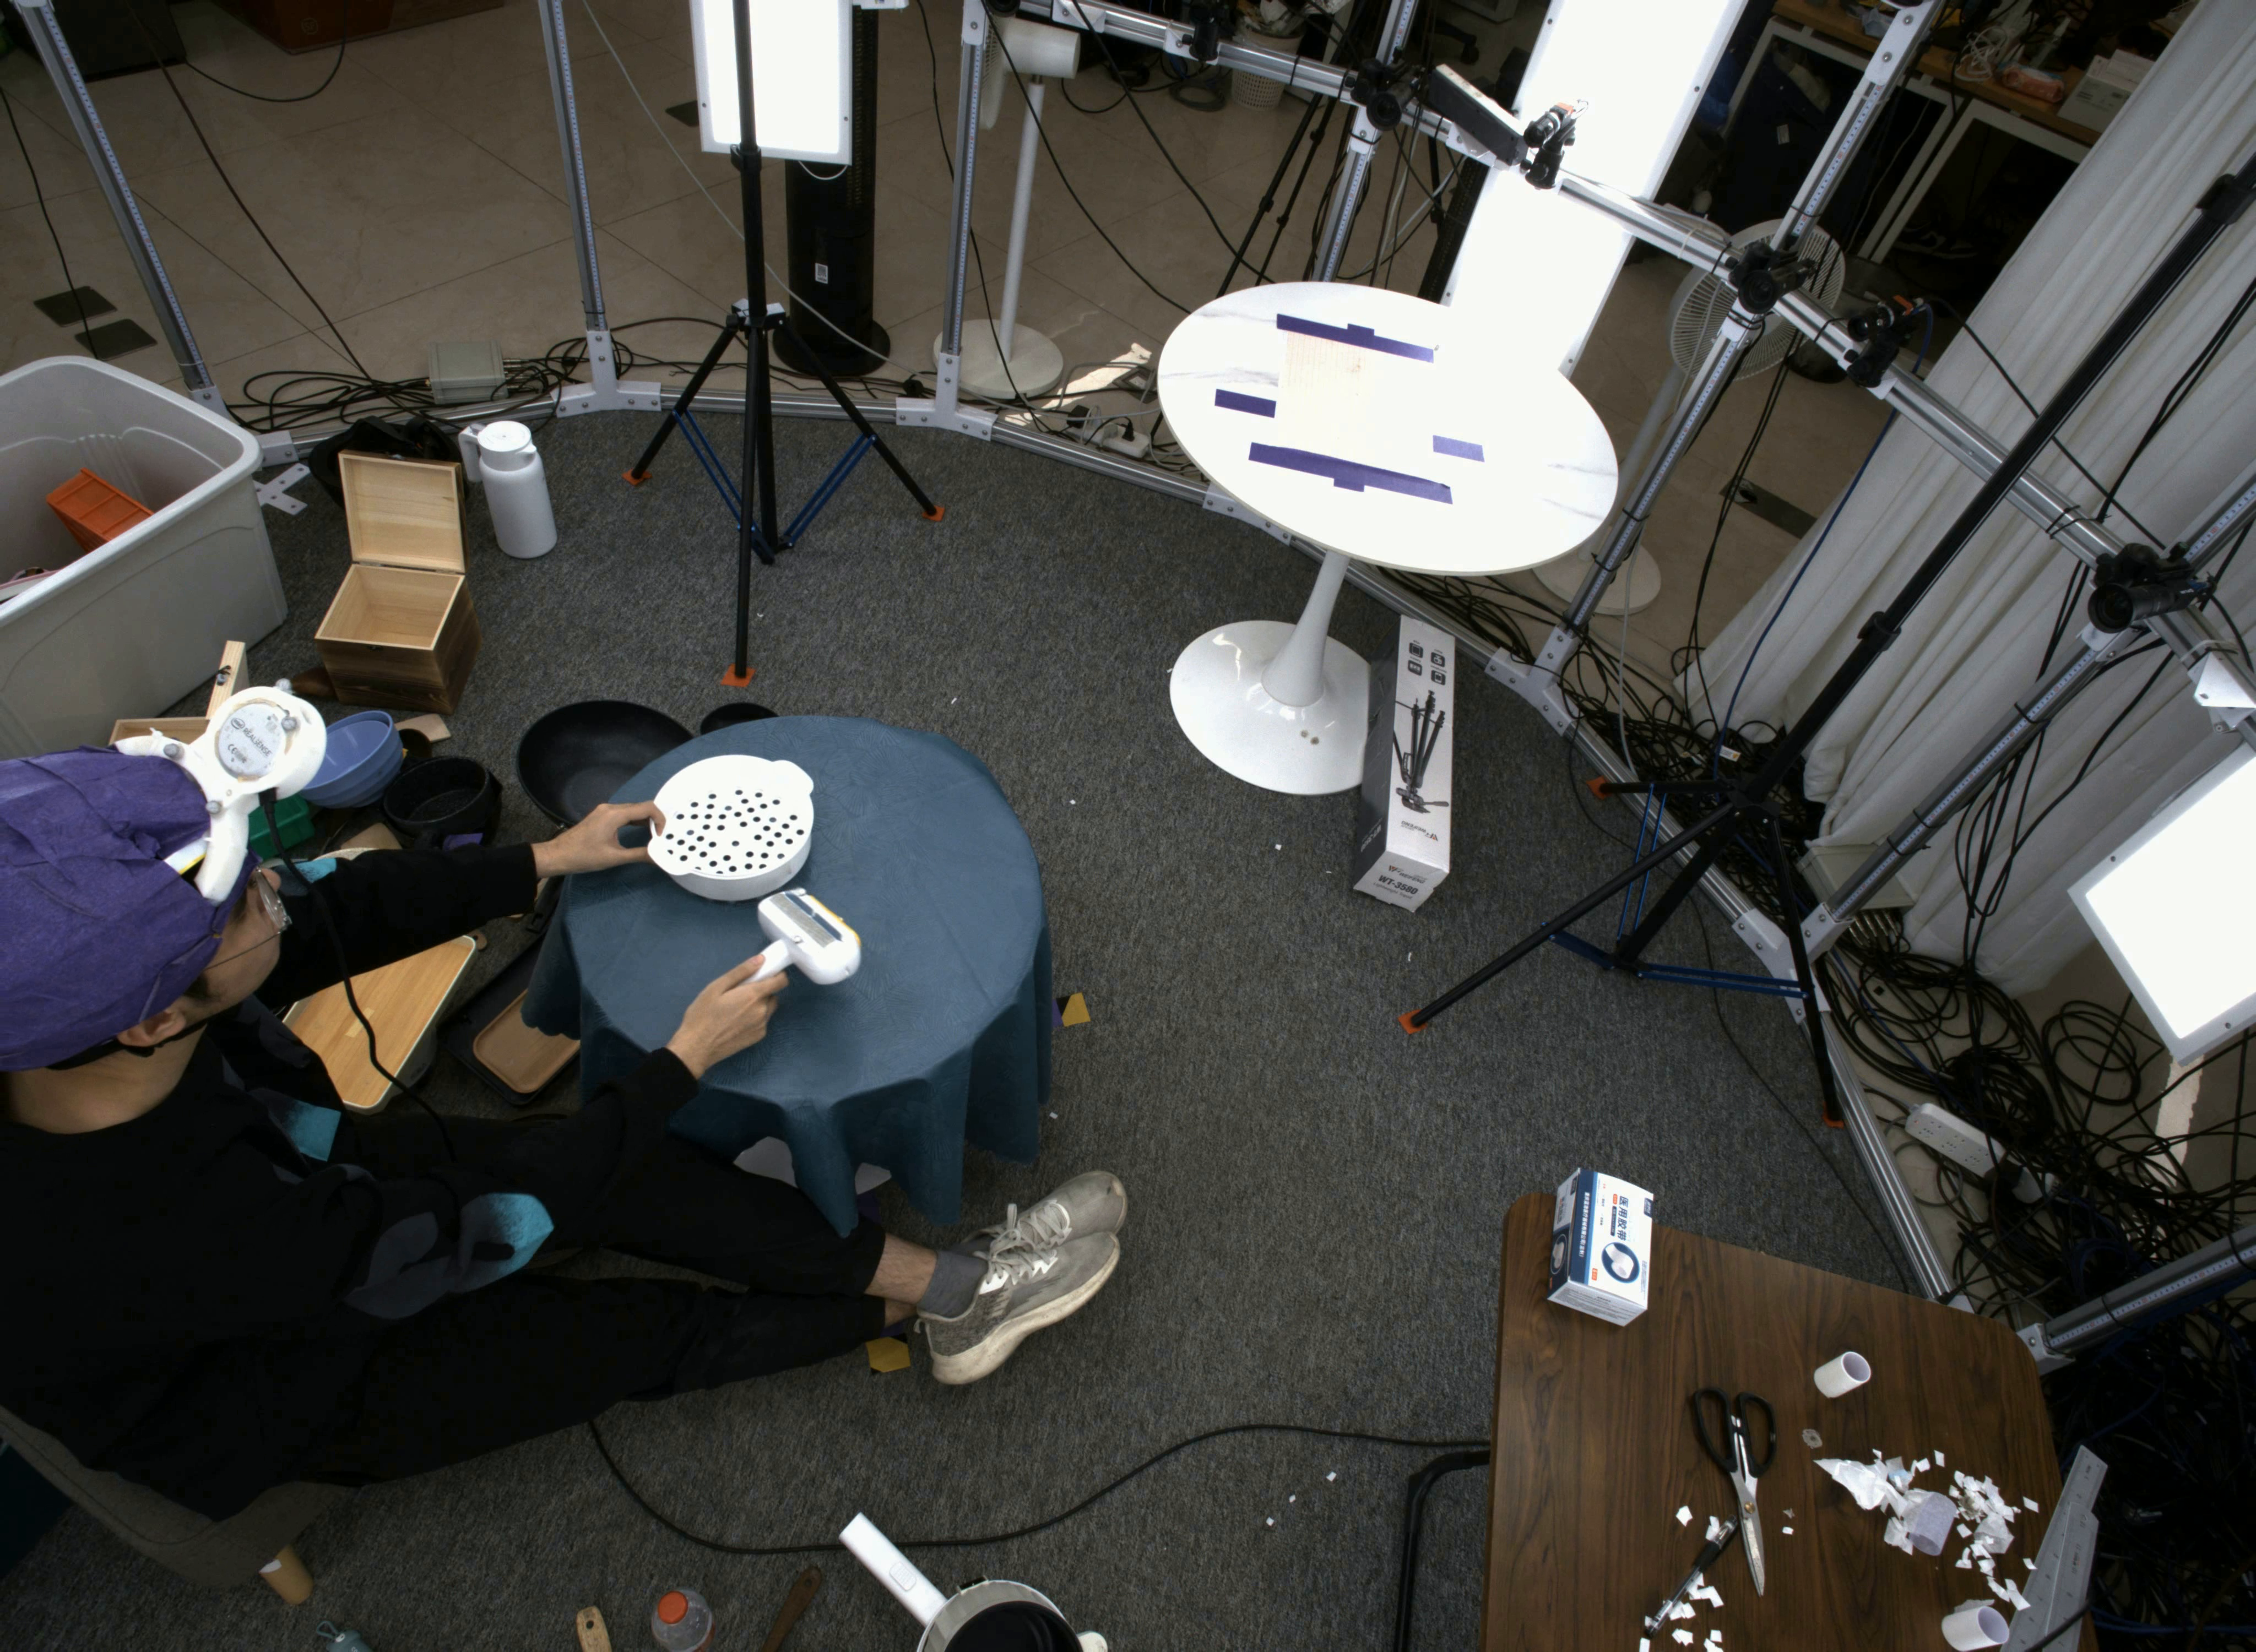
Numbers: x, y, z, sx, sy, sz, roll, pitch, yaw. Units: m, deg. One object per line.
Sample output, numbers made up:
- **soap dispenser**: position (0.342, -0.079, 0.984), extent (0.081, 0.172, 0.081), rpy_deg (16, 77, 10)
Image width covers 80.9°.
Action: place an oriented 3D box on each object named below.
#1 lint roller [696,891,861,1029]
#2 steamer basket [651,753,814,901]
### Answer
- **lint roller**: position (-0.423, 0.162, 1.515), extent (0.193, 0.077, 0.185), rpy_deg (-29, 38, -22)
- **steamer basket**: position (-0.504, 0.001, 1.665), extent (0.197, 0.071, 0.231), rpy_deg (39, 57, 17)
